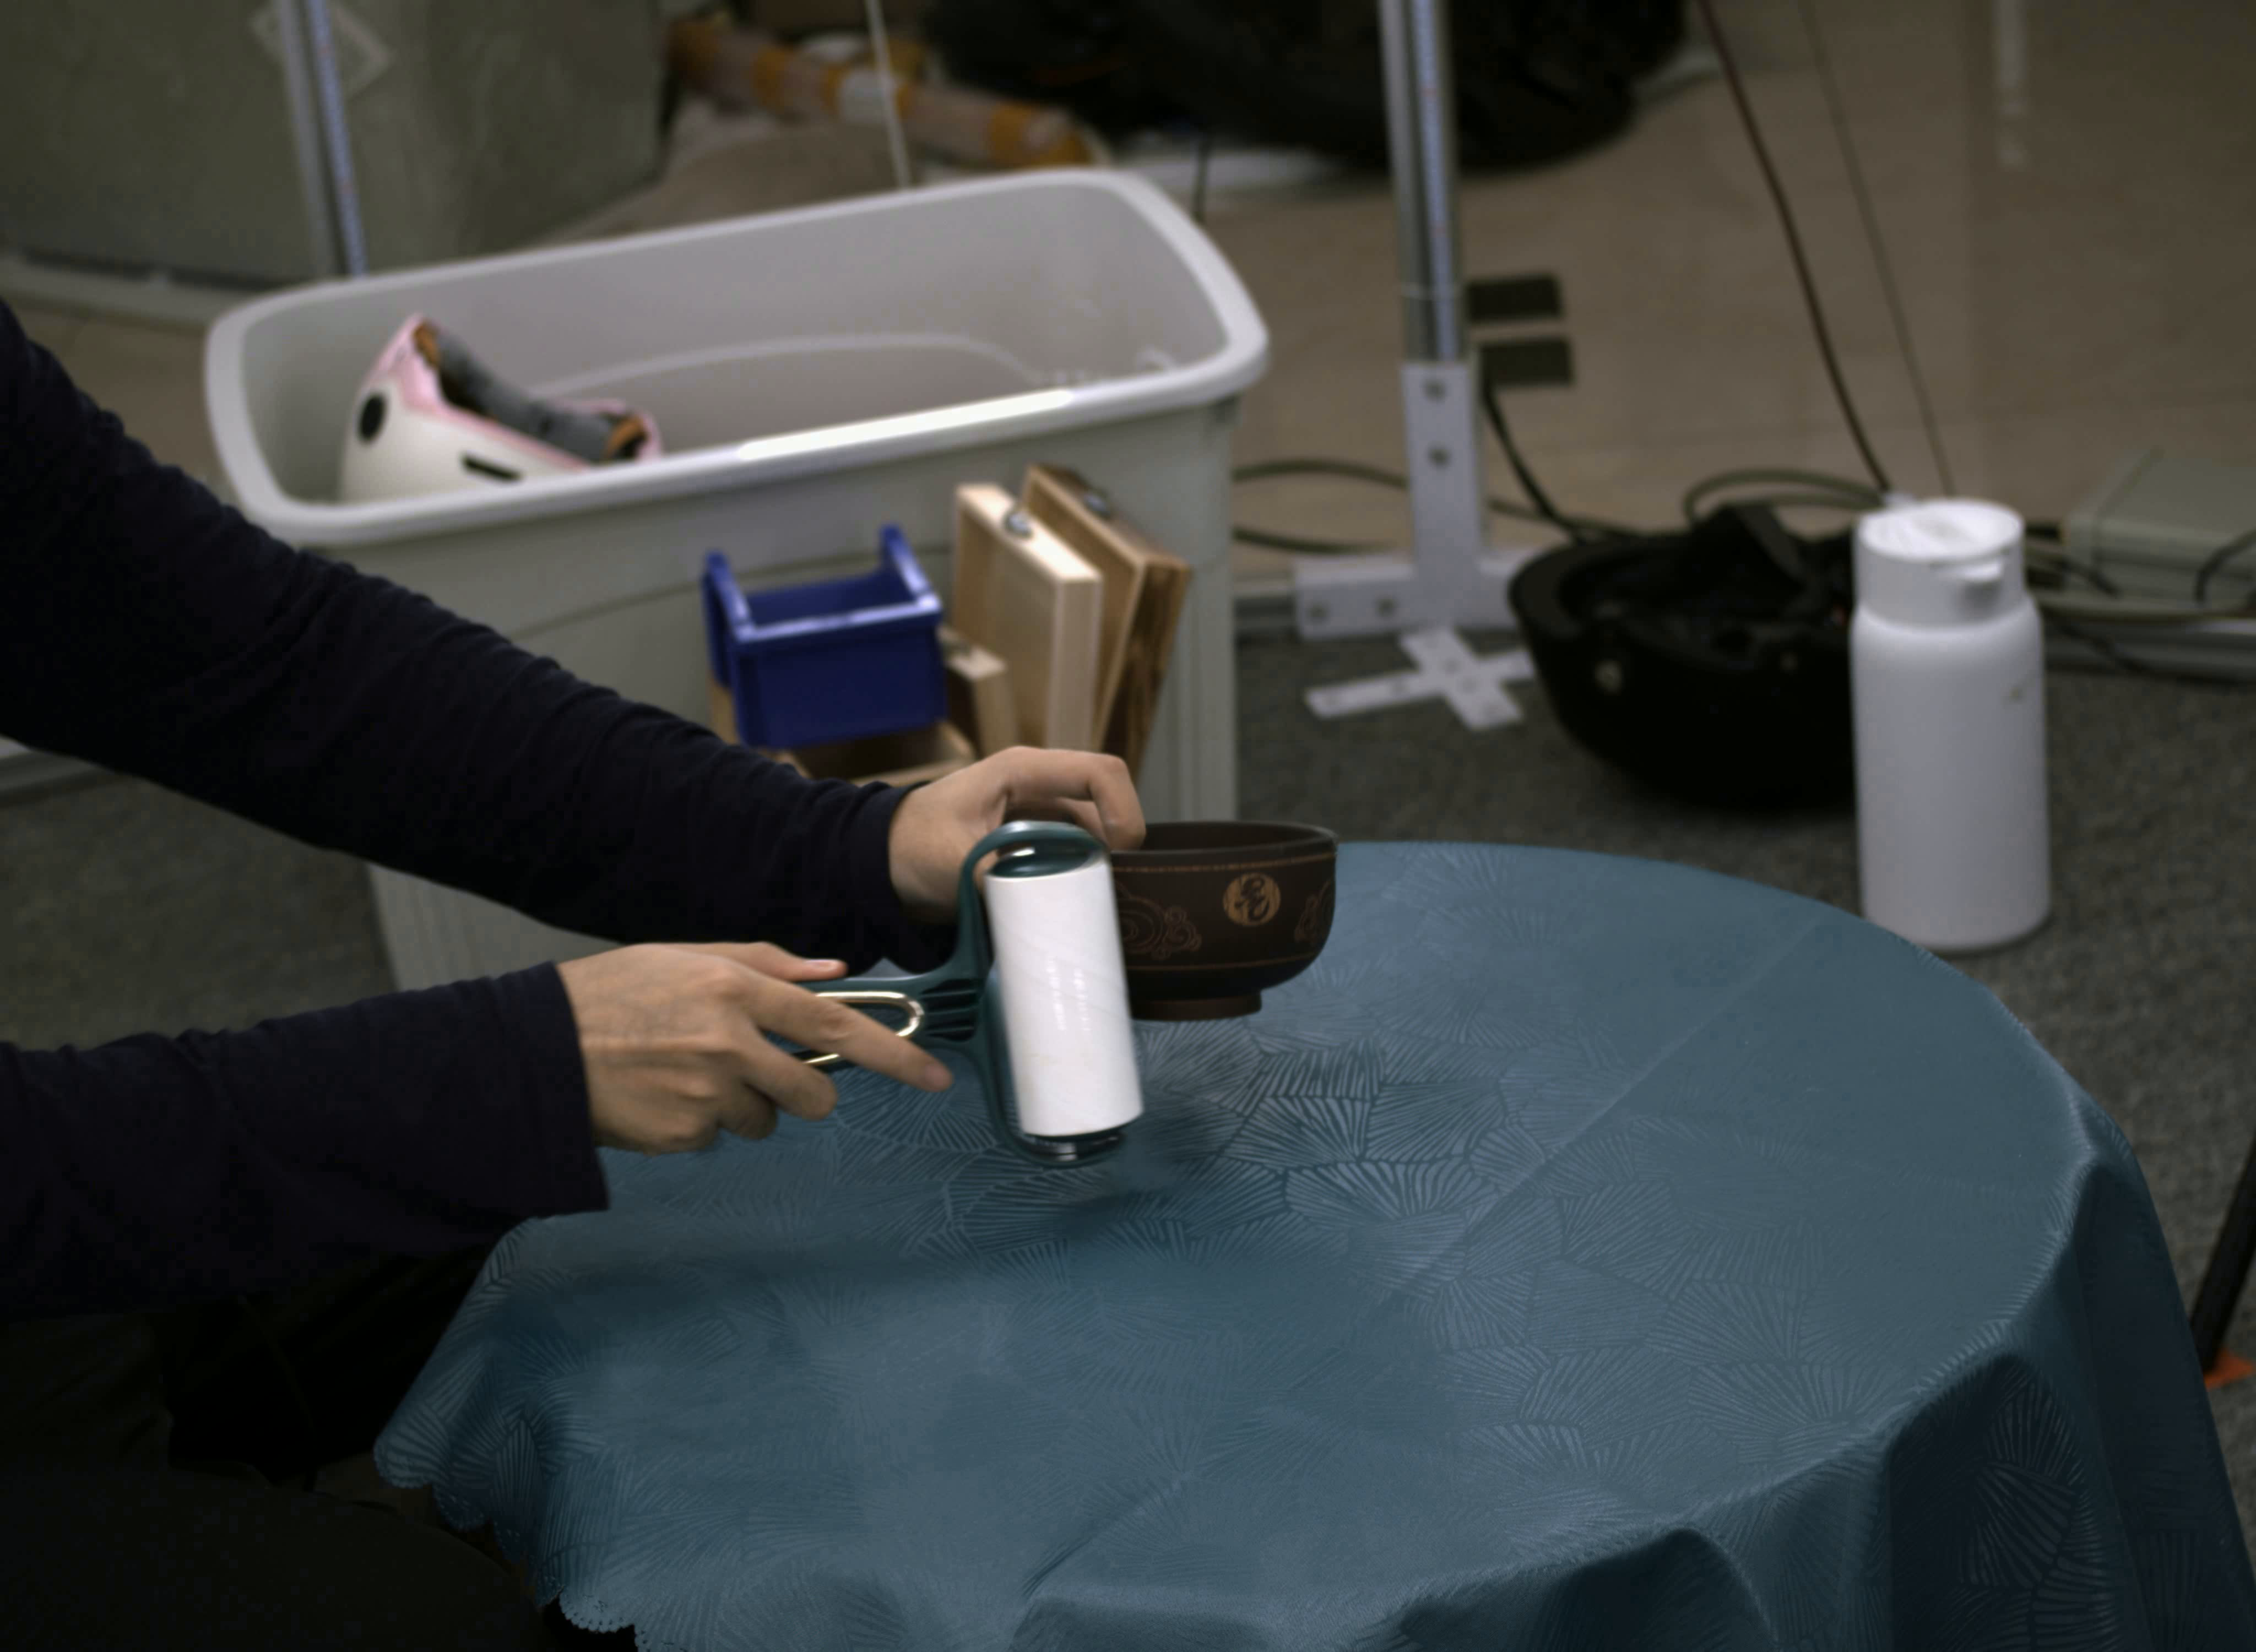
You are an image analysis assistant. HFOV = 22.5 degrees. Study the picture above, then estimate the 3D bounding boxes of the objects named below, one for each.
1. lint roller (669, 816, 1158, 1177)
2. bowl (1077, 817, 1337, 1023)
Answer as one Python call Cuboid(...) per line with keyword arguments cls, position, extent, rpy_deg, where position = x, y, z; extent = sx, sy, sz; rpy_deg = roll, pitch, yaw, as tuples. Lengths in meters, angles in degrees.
Cuboid(cls="lint roller", position=(-0.085, 0.073, 2.113), extent=(0.180, 0.135, 0.048), rpy_deg=(-9, 8, 3))
Cuboid(cls="bowl", position=(0.022, 0.037, 2.179), extent=(0.118, 0.070, 0.117), rpy_deg=(-3, 8, 0))
